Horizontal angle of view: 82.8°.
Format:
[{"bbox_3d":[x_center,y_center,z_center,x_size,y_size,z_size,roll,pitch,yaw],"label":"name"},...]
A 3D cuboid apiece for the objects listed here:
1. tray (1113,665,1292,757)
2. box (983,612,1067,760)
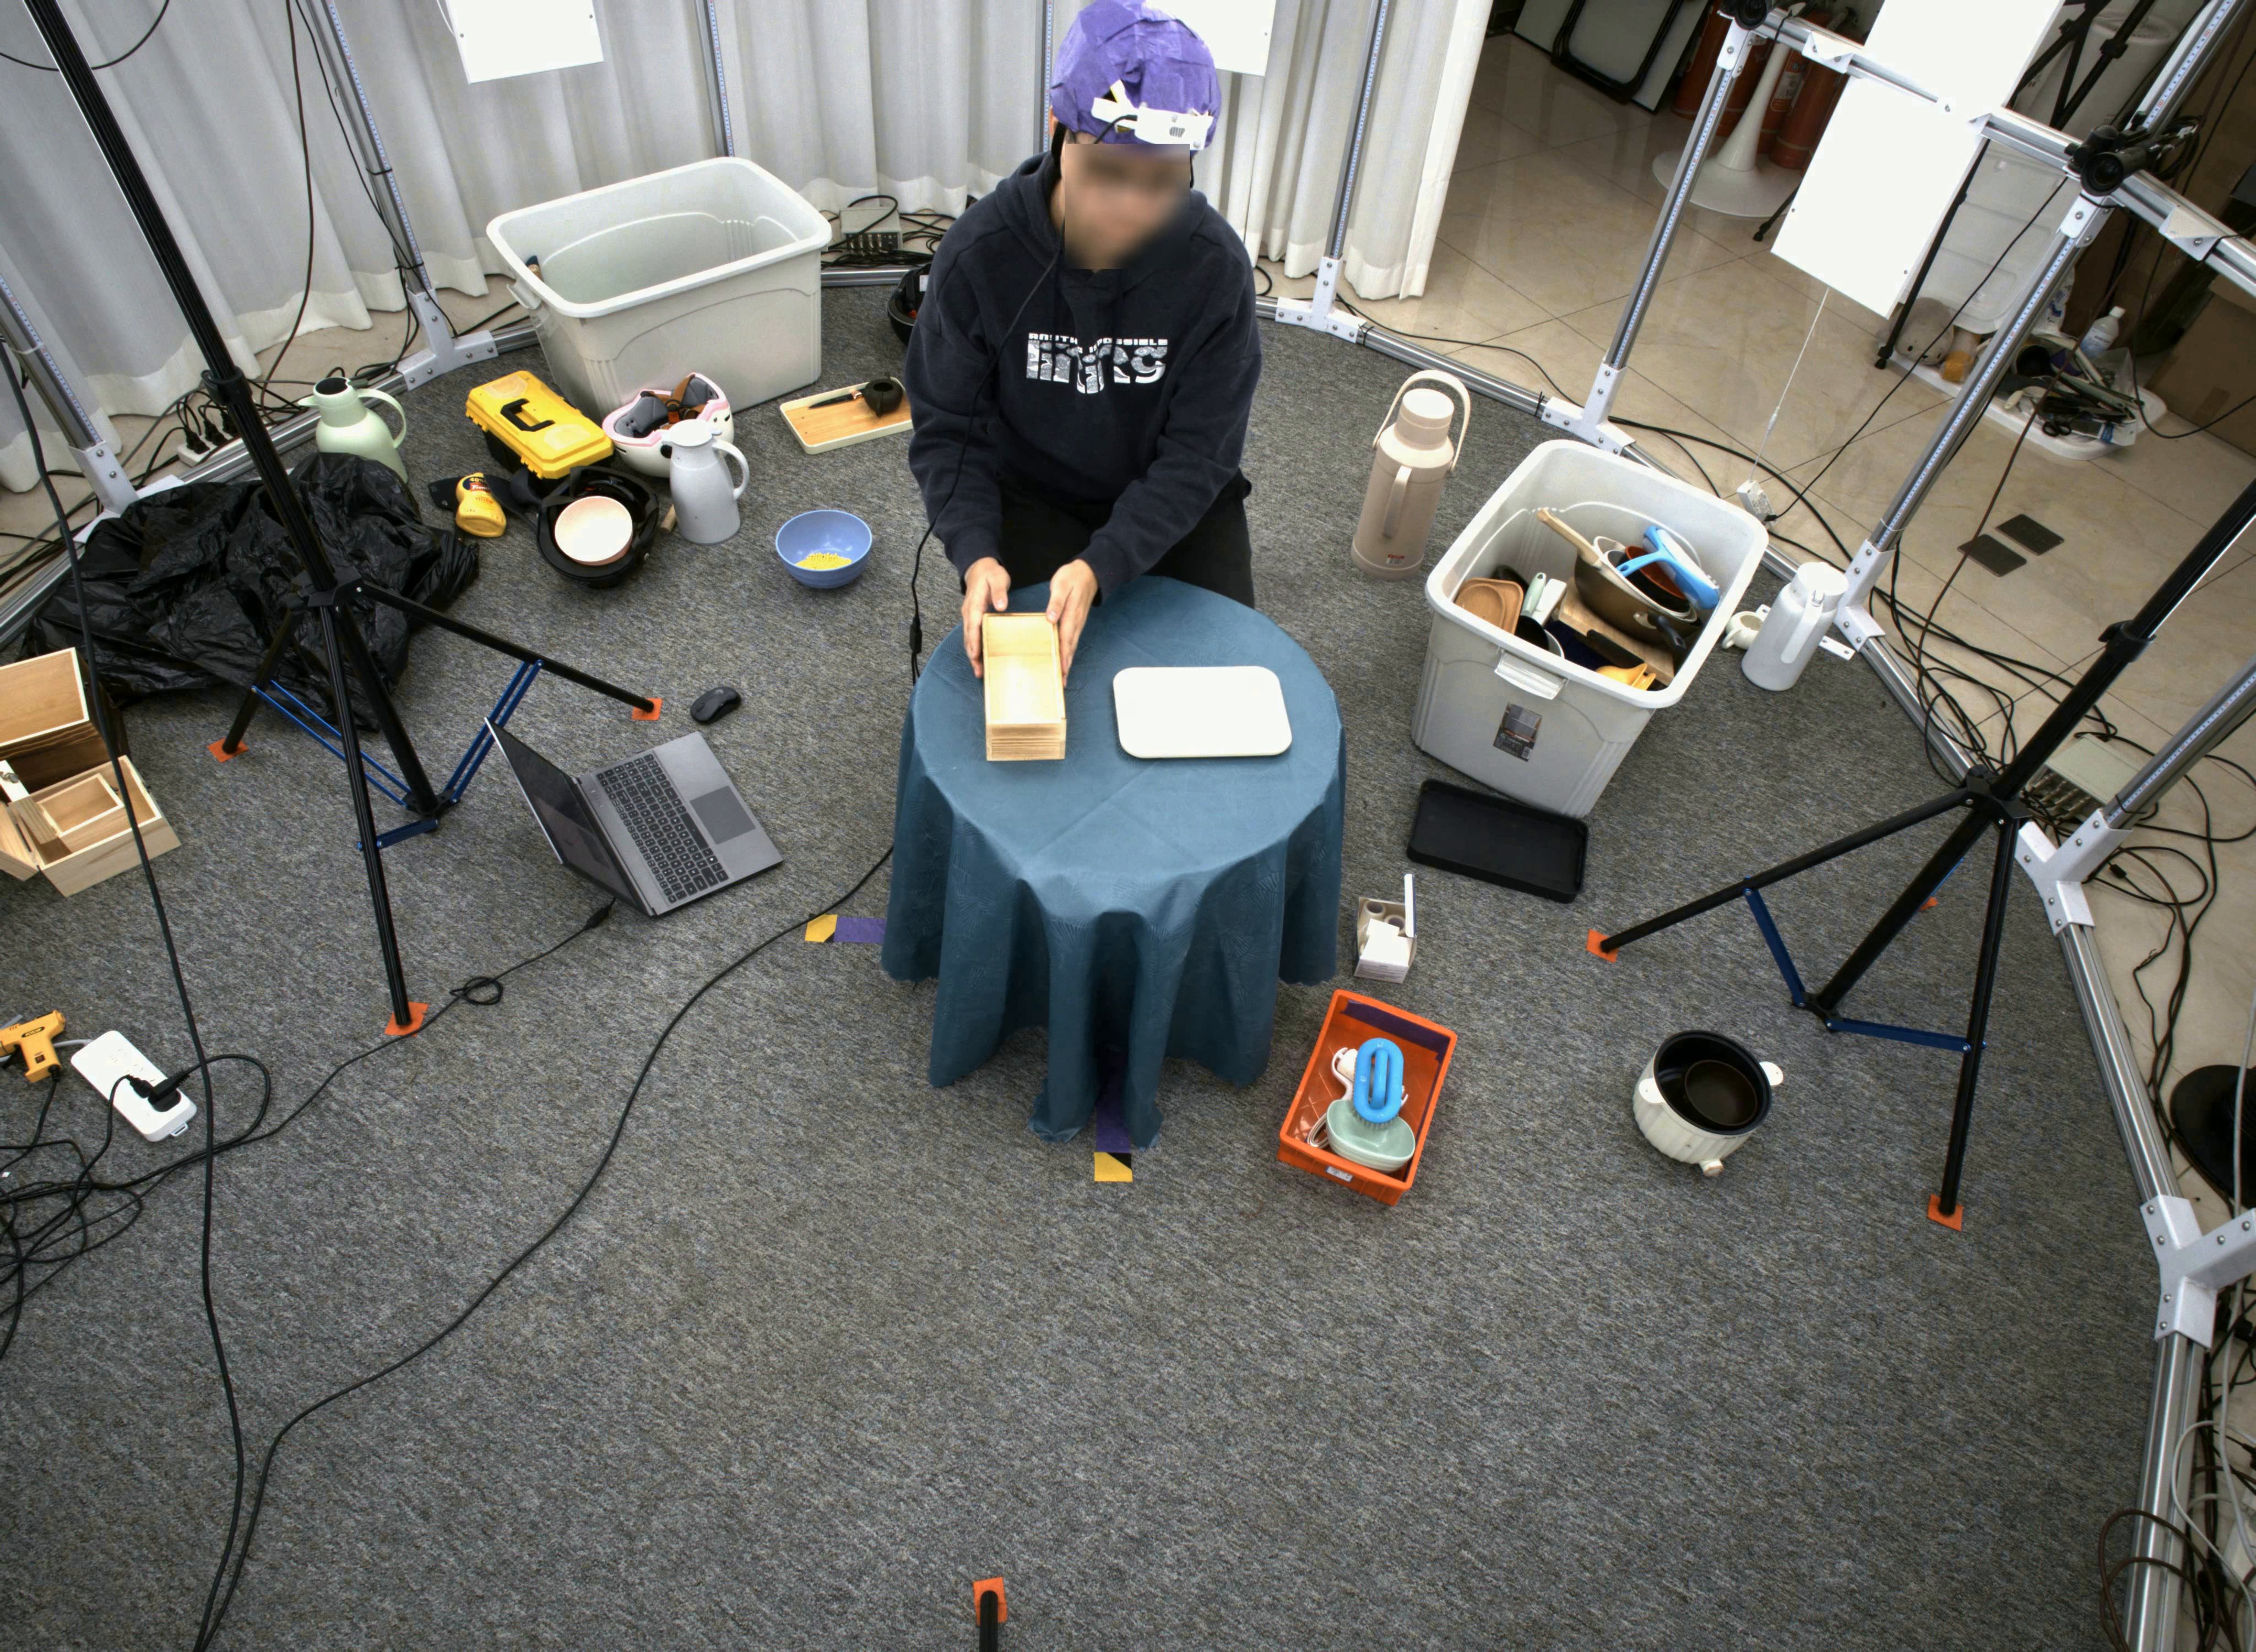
[{"bbox_3d":[0.102,-0.161,1.801,0.239,0.017,0.175,-2,49,-6],"label":"tray"},{"bbox_3d":[-0.144,-0.195,1.772,0.107,0.078,0.217,-2,49,-7],"label":"box"}]
